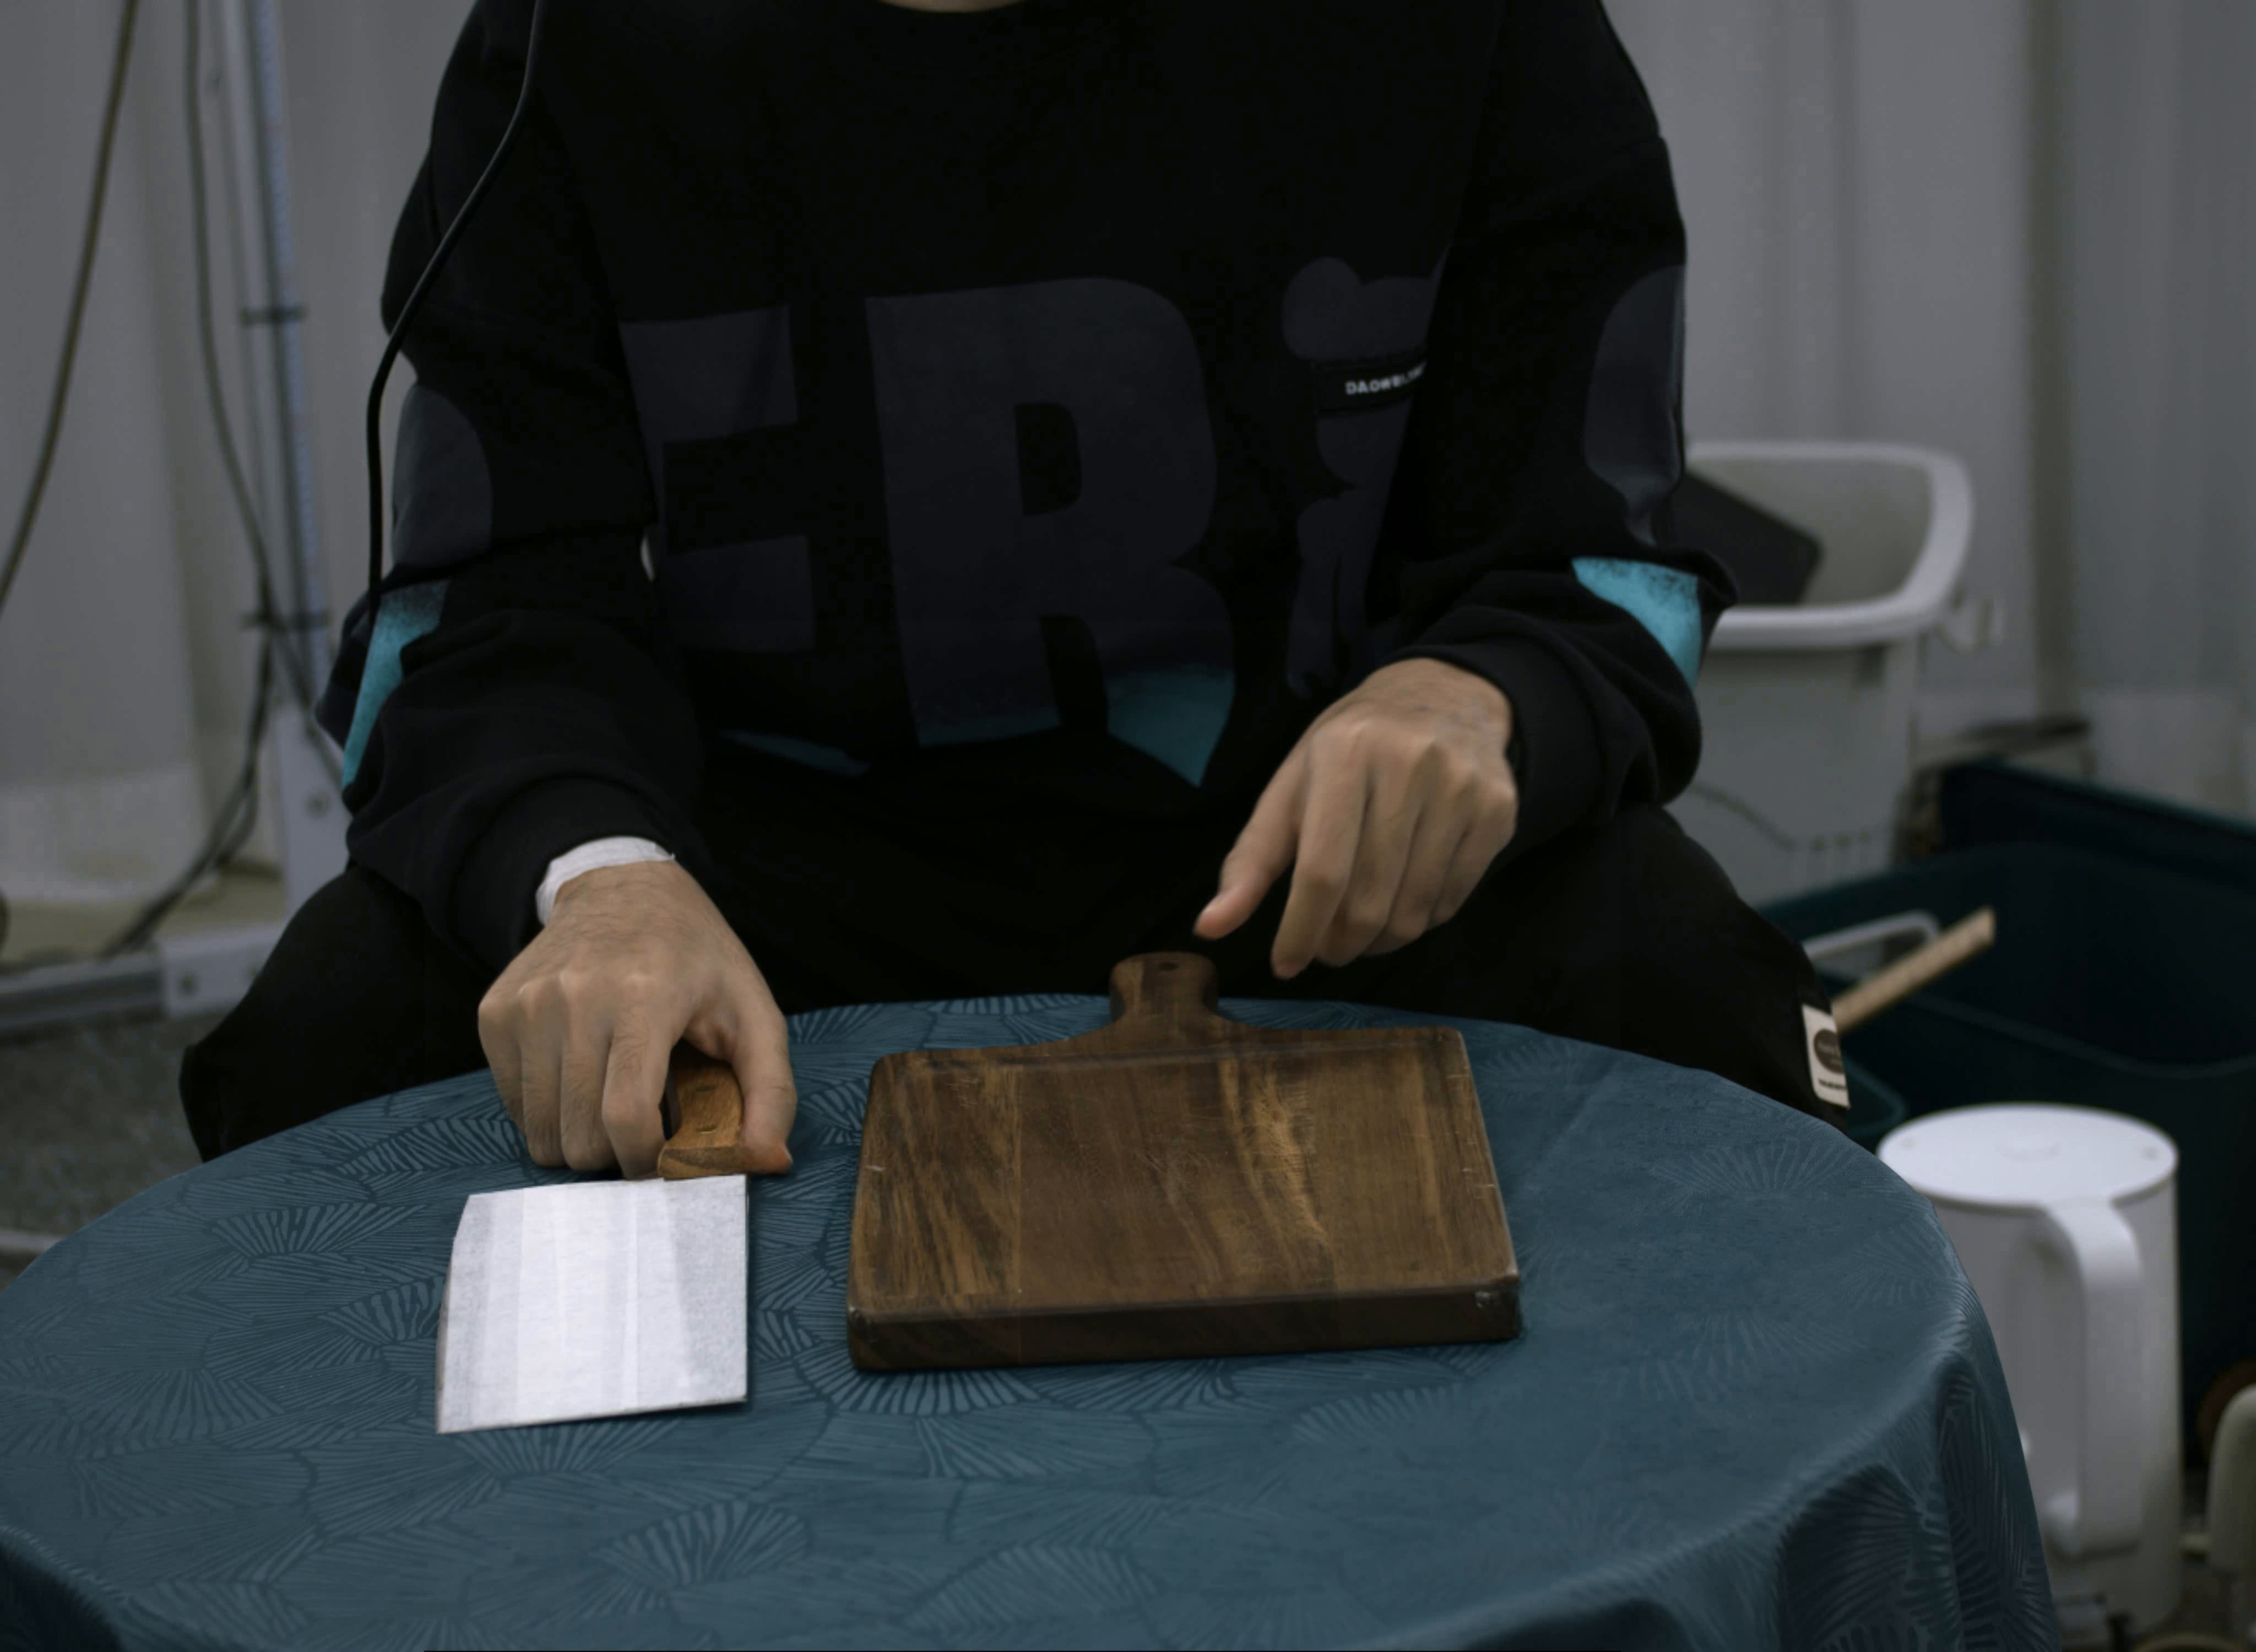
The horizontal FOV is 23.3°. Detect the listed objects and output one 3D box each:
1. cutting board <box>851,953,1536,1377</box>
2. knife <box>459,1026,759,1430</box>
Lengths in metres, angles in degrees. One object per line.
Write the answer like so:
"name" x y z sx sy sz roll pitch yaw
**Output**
"cutting board" 0.014 0.099 1.731 0.200 0.023 0.354 -3 15 0
"knife" -0.160 0.123 1.688 0.092 0.021 0.308 -7 17 -2
